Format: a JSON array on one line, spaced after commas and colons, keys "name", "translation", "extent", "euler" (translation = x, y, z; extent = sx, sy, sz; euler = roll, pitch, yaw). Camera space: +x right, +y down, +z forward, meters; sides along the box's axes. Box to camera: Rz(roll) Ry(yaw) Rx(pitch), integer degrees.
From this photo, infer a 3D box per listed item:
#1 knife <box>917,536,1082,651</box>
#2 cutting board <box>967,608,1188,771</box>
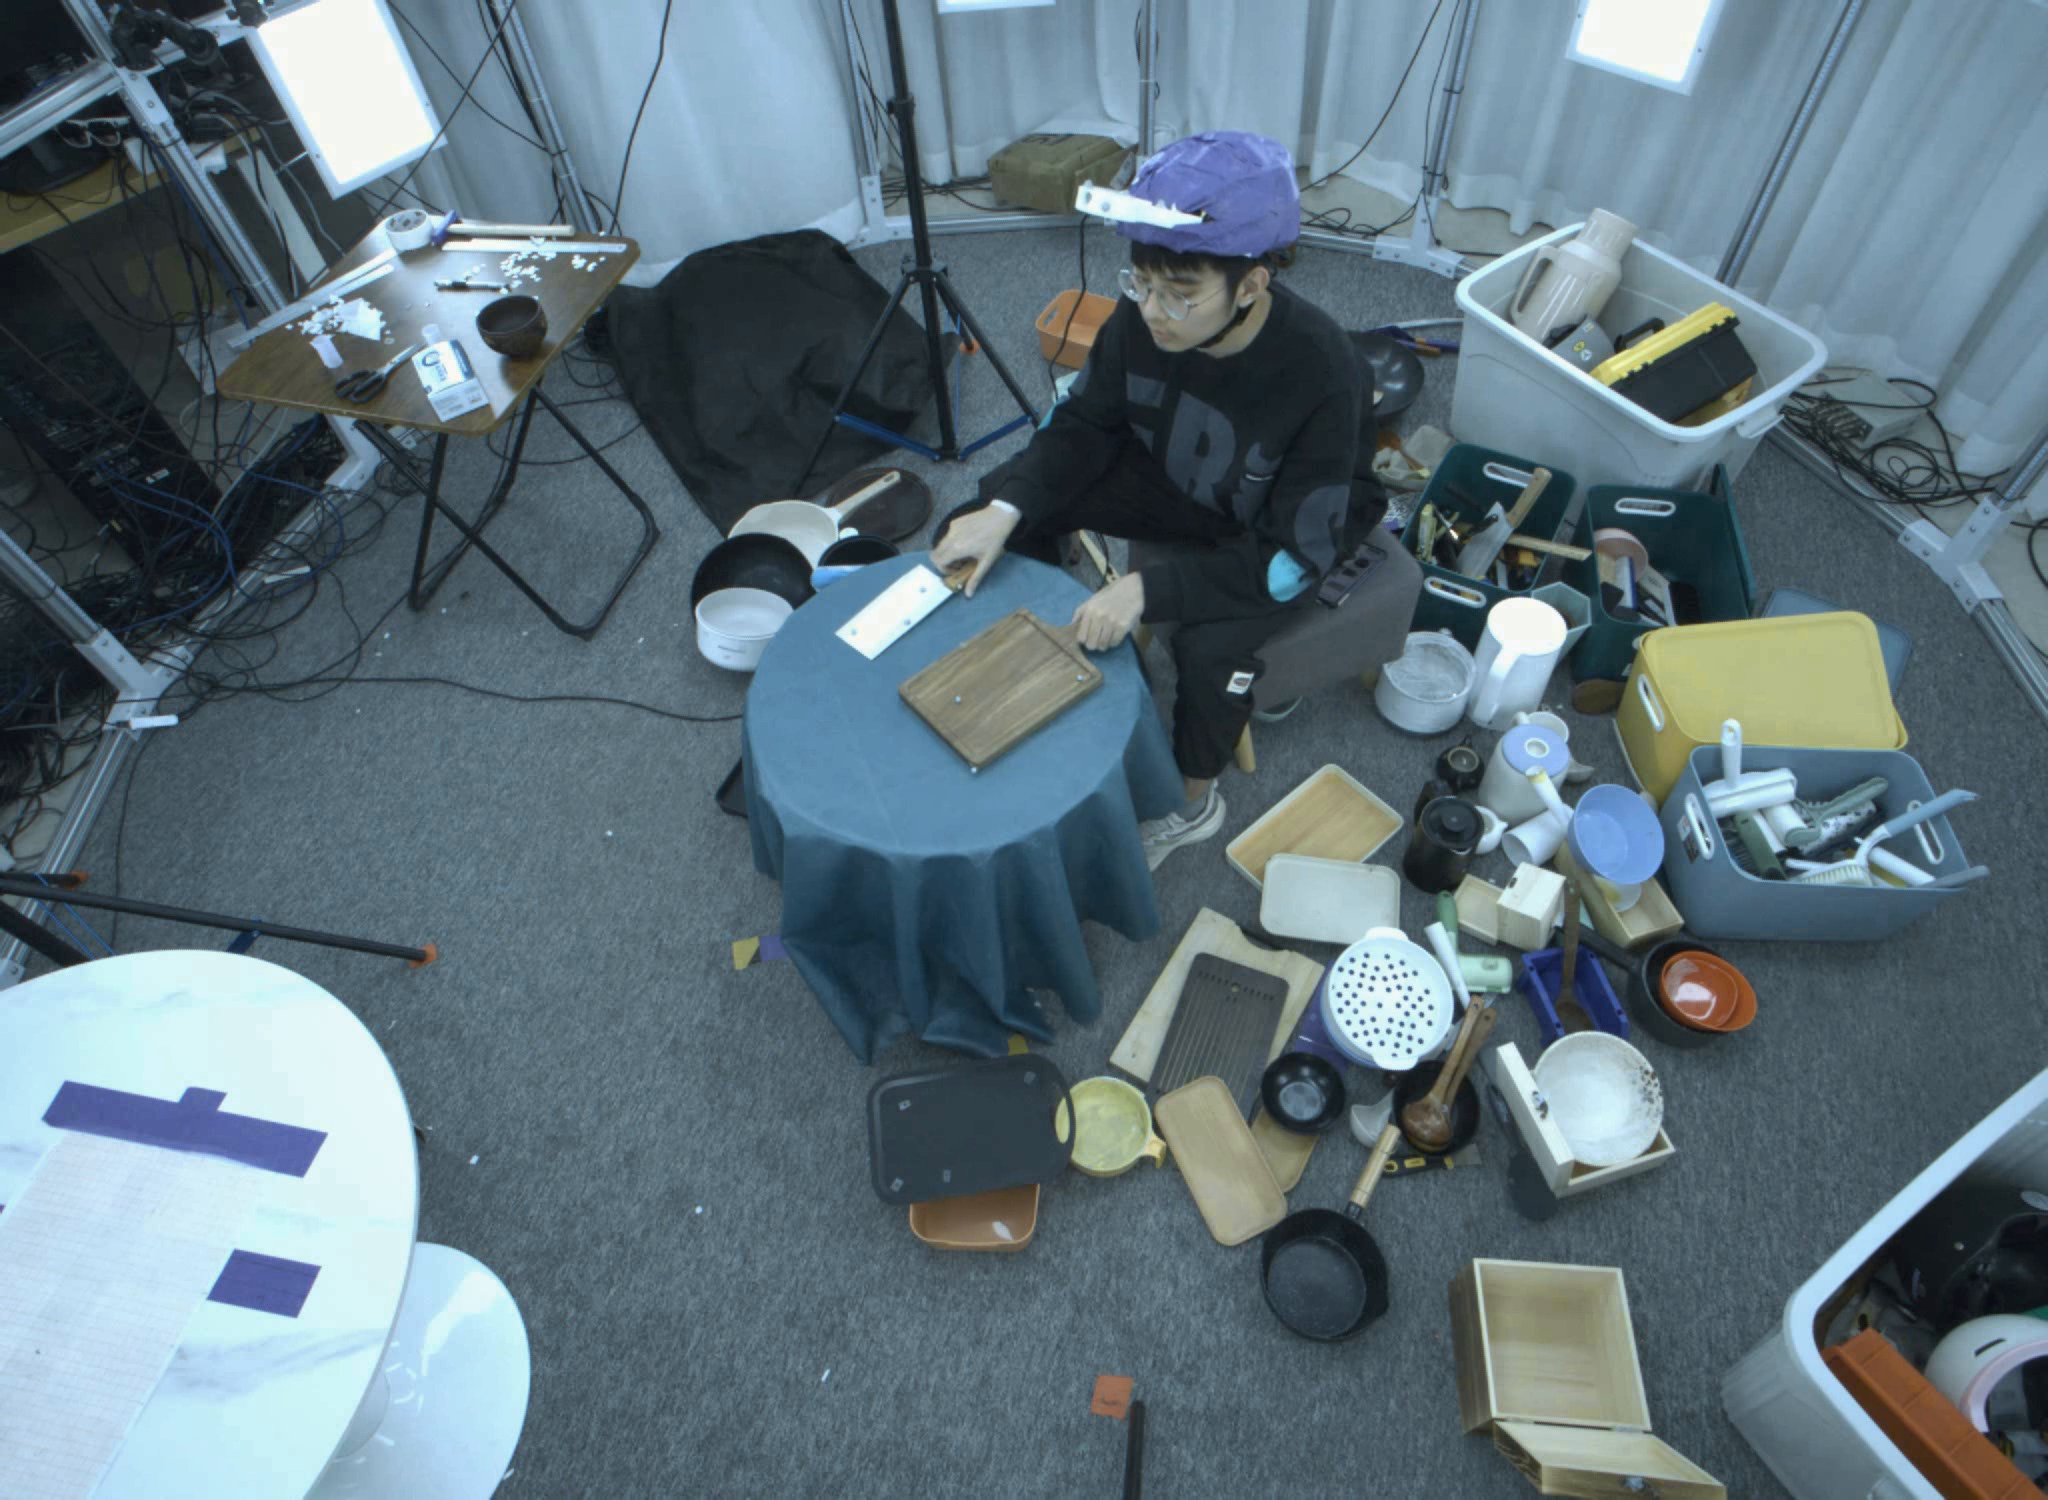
[{"name": "knife", "translation": [-0.043, -0.264, 1.966], "extent": [0.308, 0.021, 0.091], "euler": [-39, 60, -20]}, {"name": "cutting board", "translation": [0.109, -0.121, 1.855], "extent": [0.355, 0.023, 0.197], "euler": [-32, 60, -19]}]
